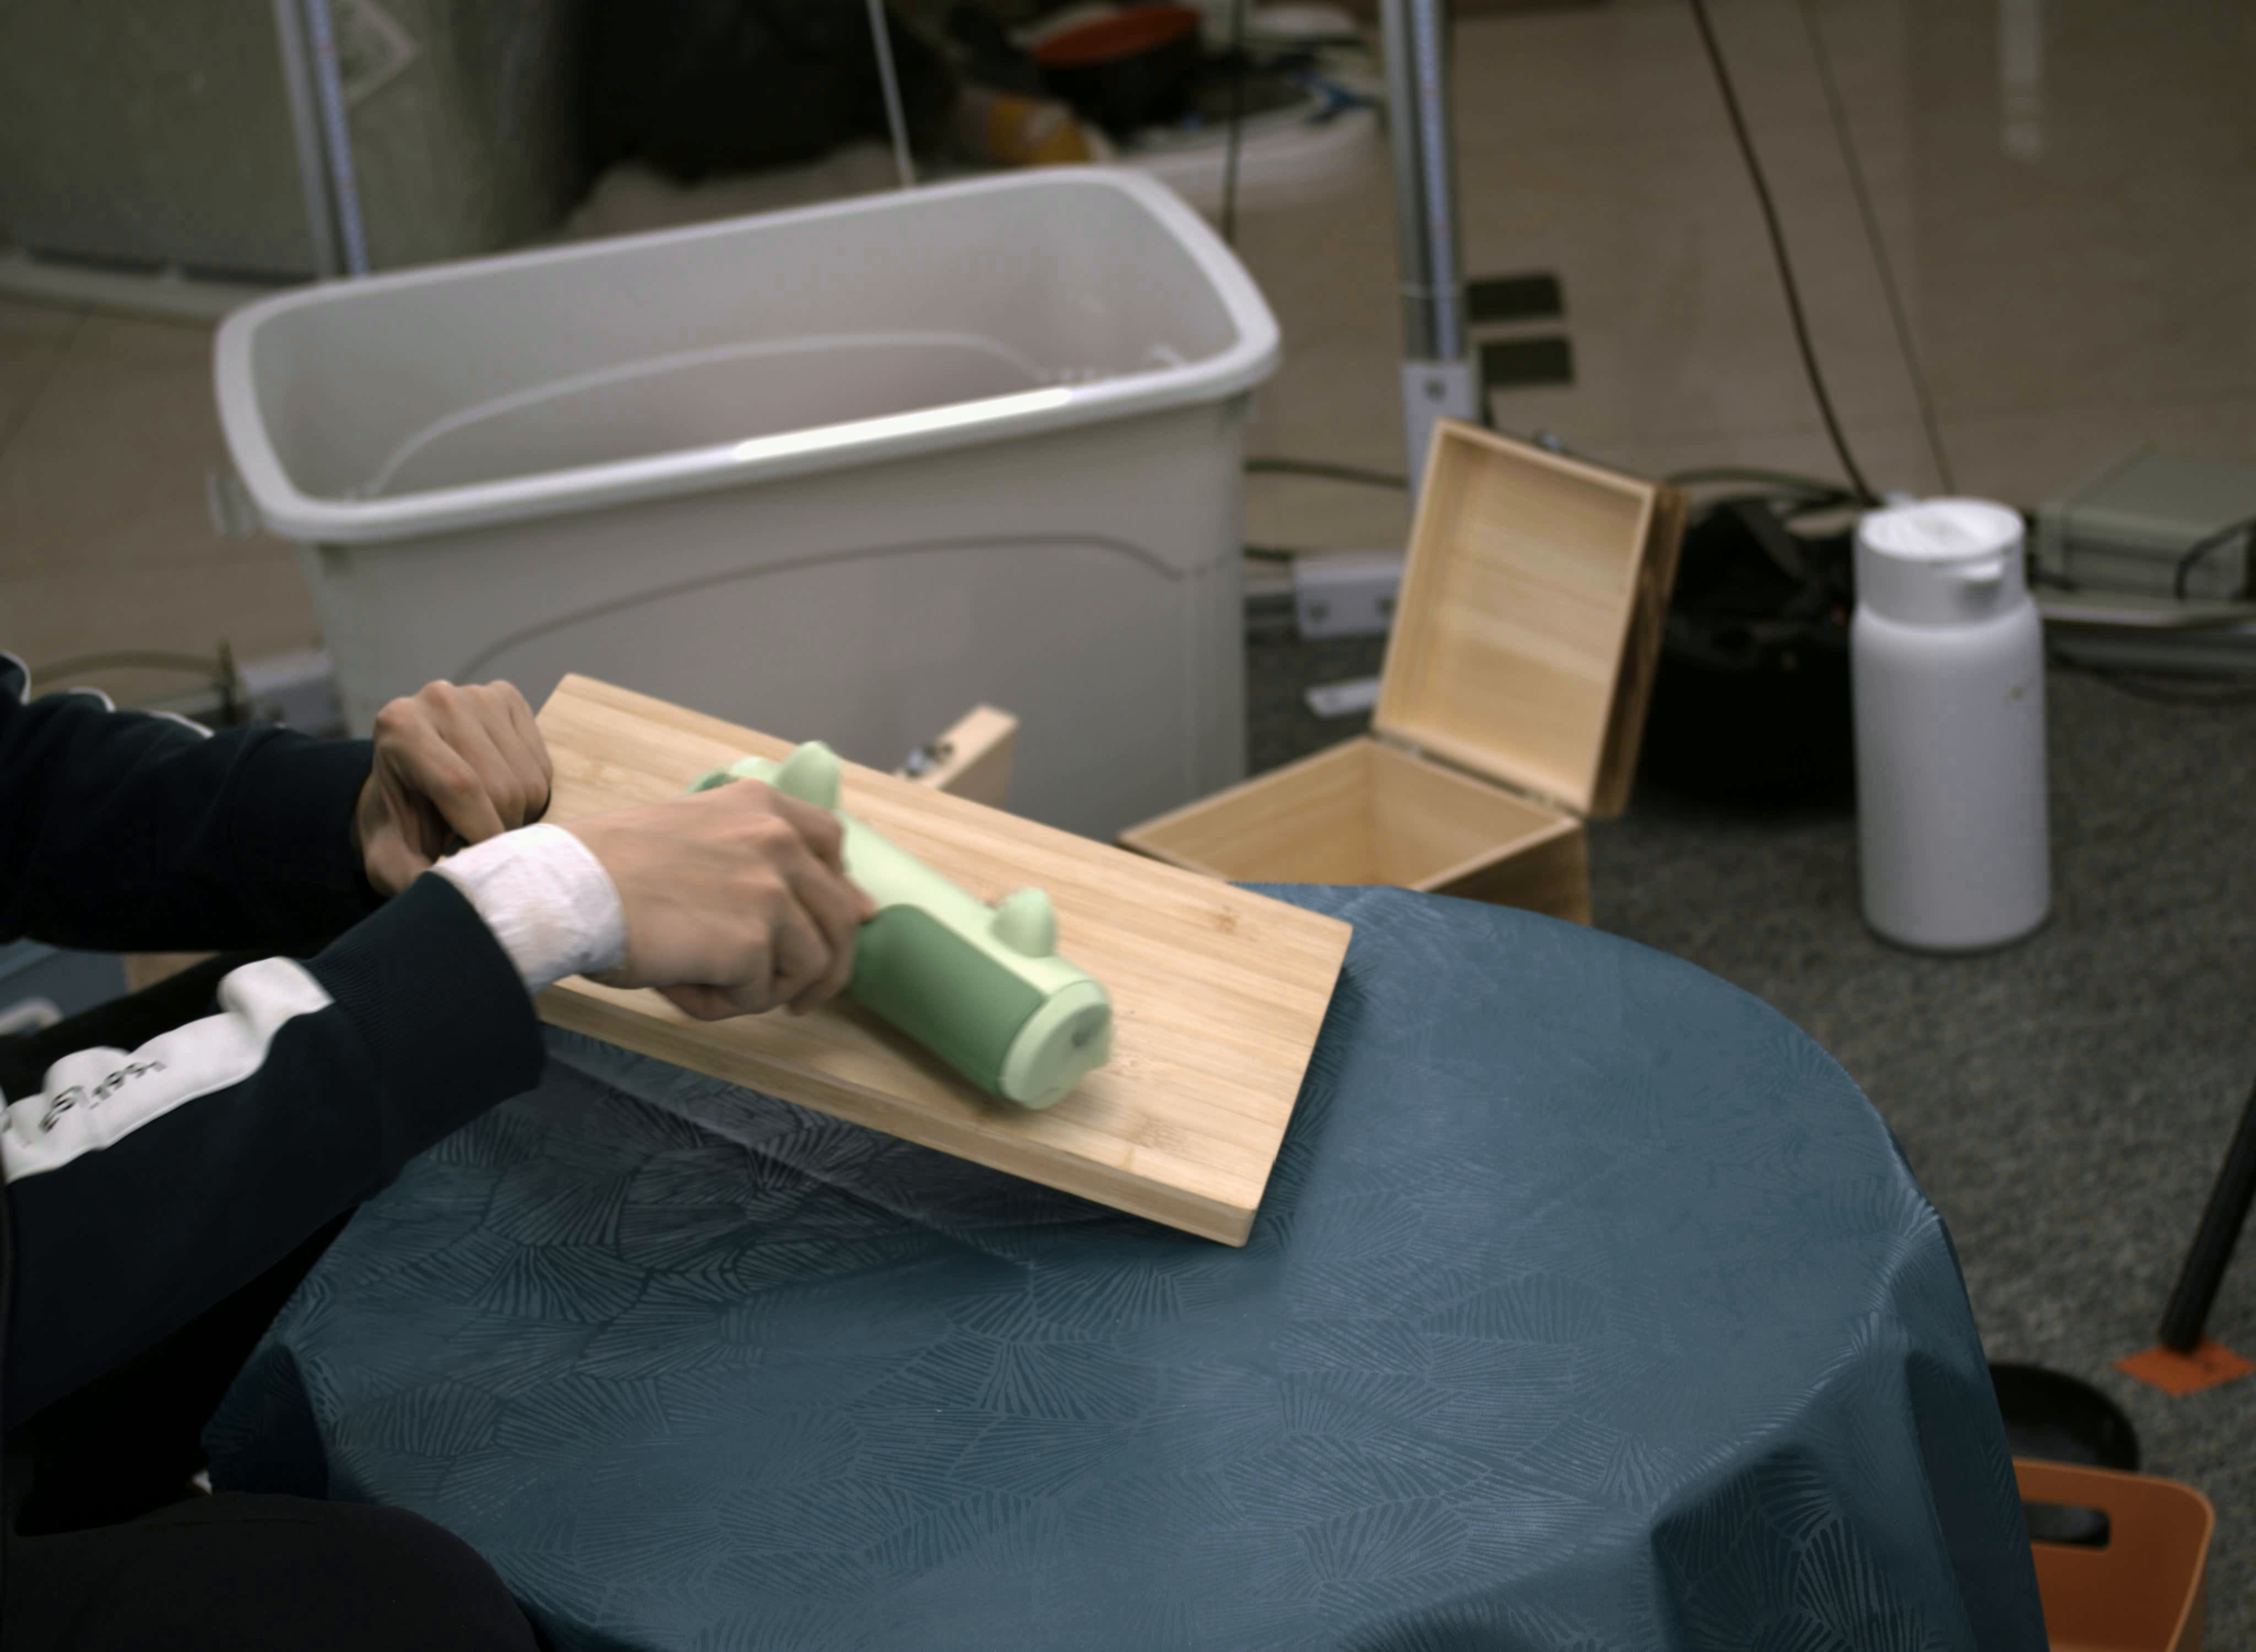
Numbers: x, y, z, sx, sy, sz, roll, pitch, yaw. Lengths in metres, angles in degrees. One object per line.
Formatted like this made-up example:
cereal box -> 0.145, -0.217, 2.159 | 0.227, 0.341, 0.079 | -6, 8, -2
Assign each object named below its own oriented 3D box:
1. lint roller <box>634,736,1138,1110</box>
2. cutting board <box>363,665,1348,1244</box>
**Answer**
lint roller -> -0.110, 0.025, 2.093 | 0.196, 0.083, 0.184 | 35, 11, 30
cutting board -> -0.098, 0.046, 2.204 | 0.348, 0.024, 0.247 | 18, 28, 2
